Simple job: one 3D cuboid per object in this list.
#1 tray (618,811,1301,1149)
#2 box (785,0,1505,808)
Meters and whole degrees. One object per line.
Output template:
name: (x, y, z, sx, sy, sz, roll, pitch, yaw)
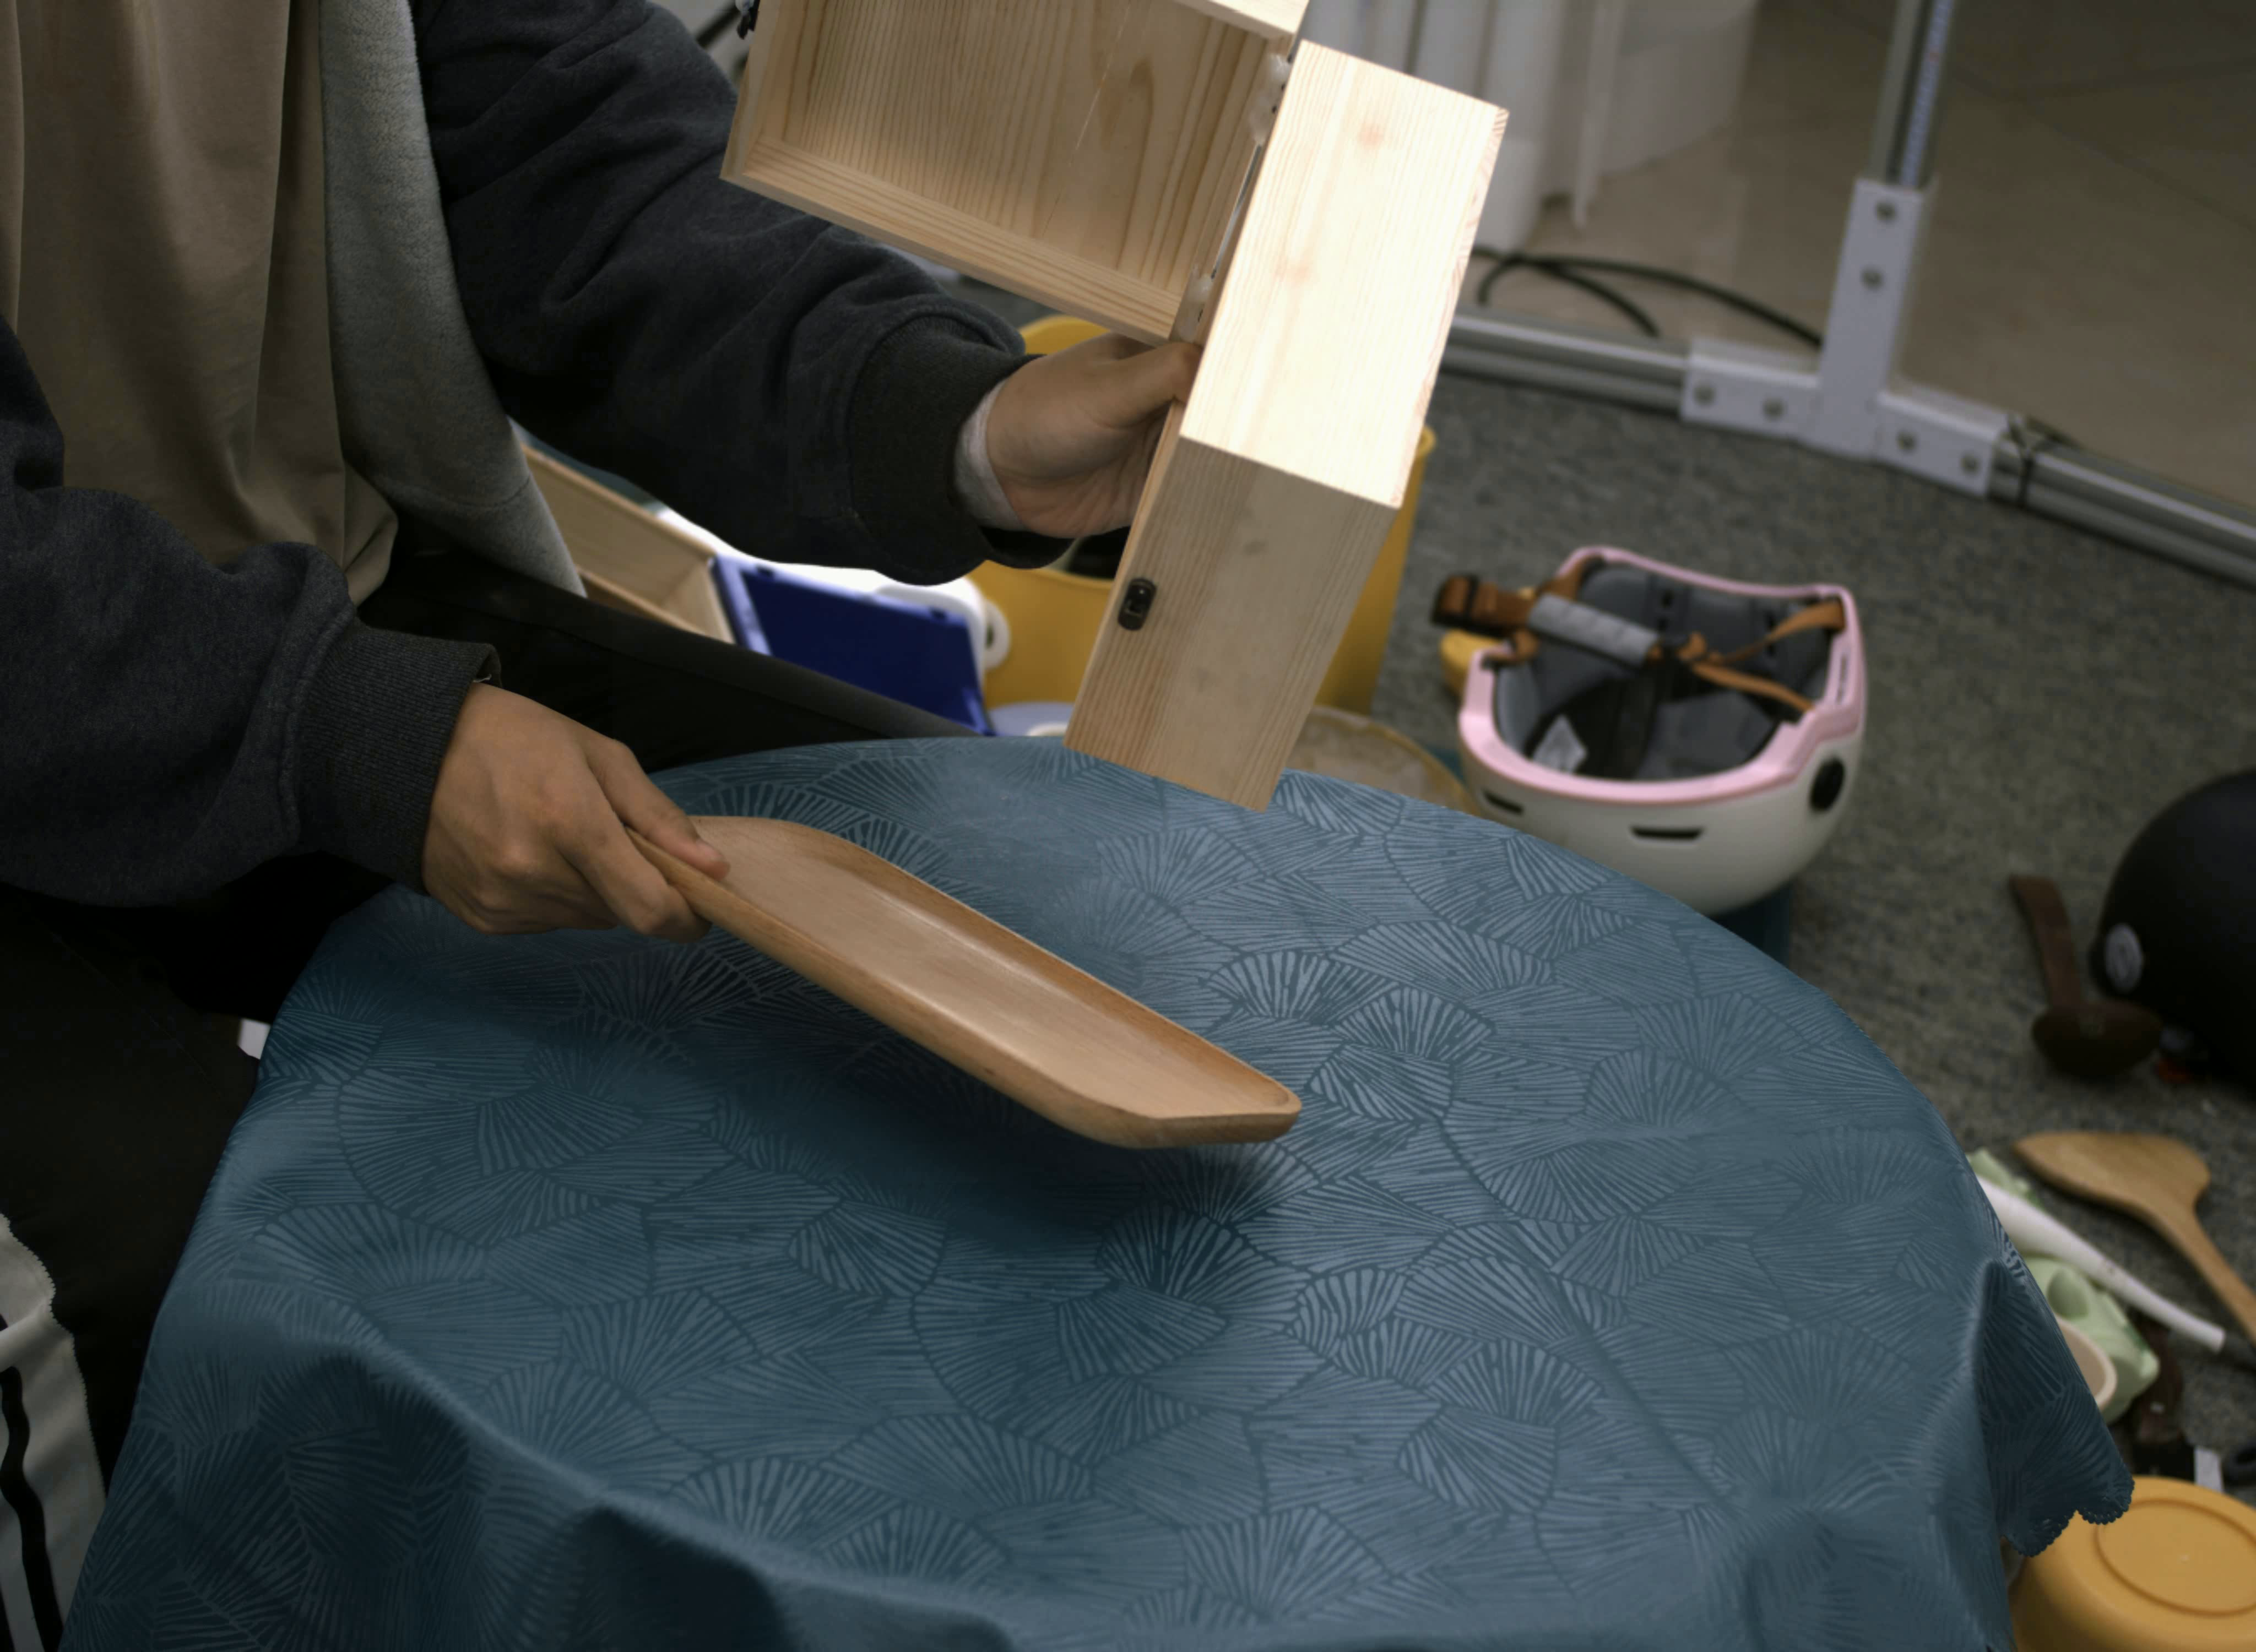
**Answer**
tray: (-0.061, 0.052, 1.841, 0.252, 0.023, 0.129, 28, 12, 34)
box: (-0.019, -0.188, 1.826, 0.253, 0.181, 0.266, 18, 53, 1)
